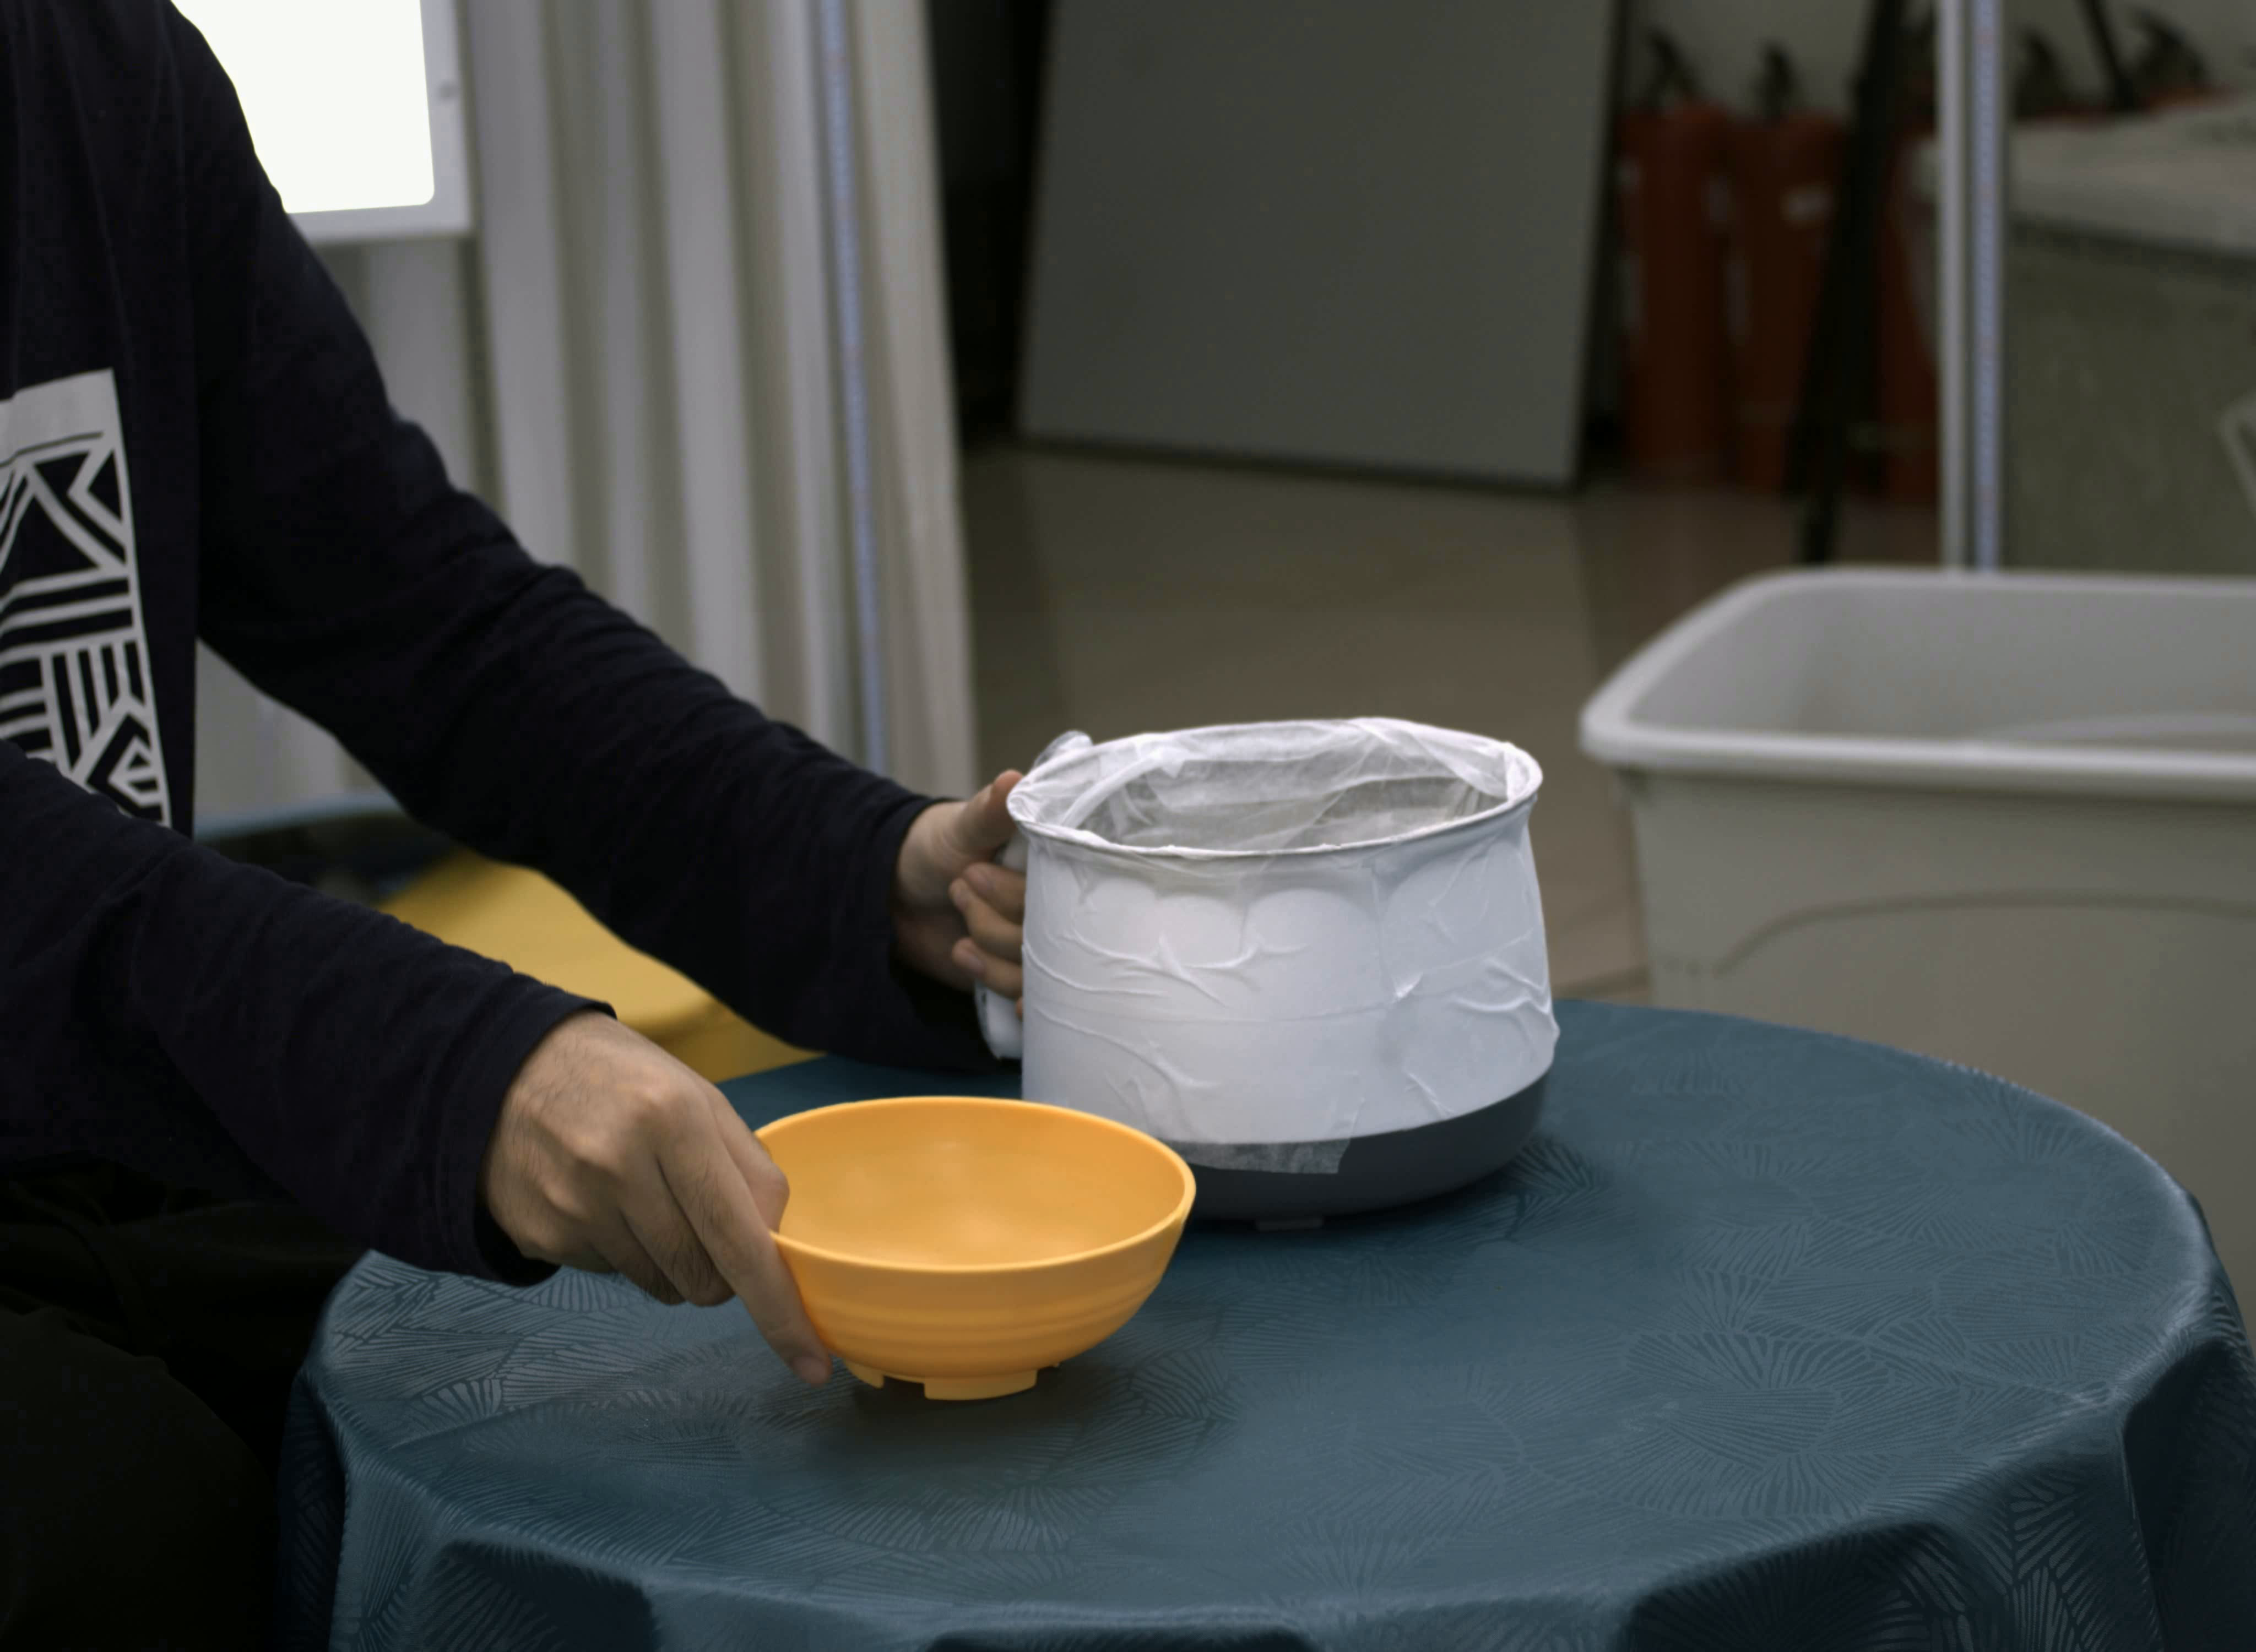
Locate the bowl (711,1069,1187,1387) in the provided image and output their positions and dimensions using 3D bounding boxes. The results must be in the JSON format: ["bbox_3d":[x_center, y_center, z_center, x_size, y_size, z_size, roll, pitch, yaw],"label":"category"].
[{"bbox_3d":[-0.055,0.126,1.603,0.143,0.061,0.145,5,19,-3],"label":"bowl"}]

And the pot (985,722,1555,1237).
[{"bbox_3d":[0.033,0.046,1.795,0.175,0.138,0.236,-15,16,-40],"label":"pot"}]
